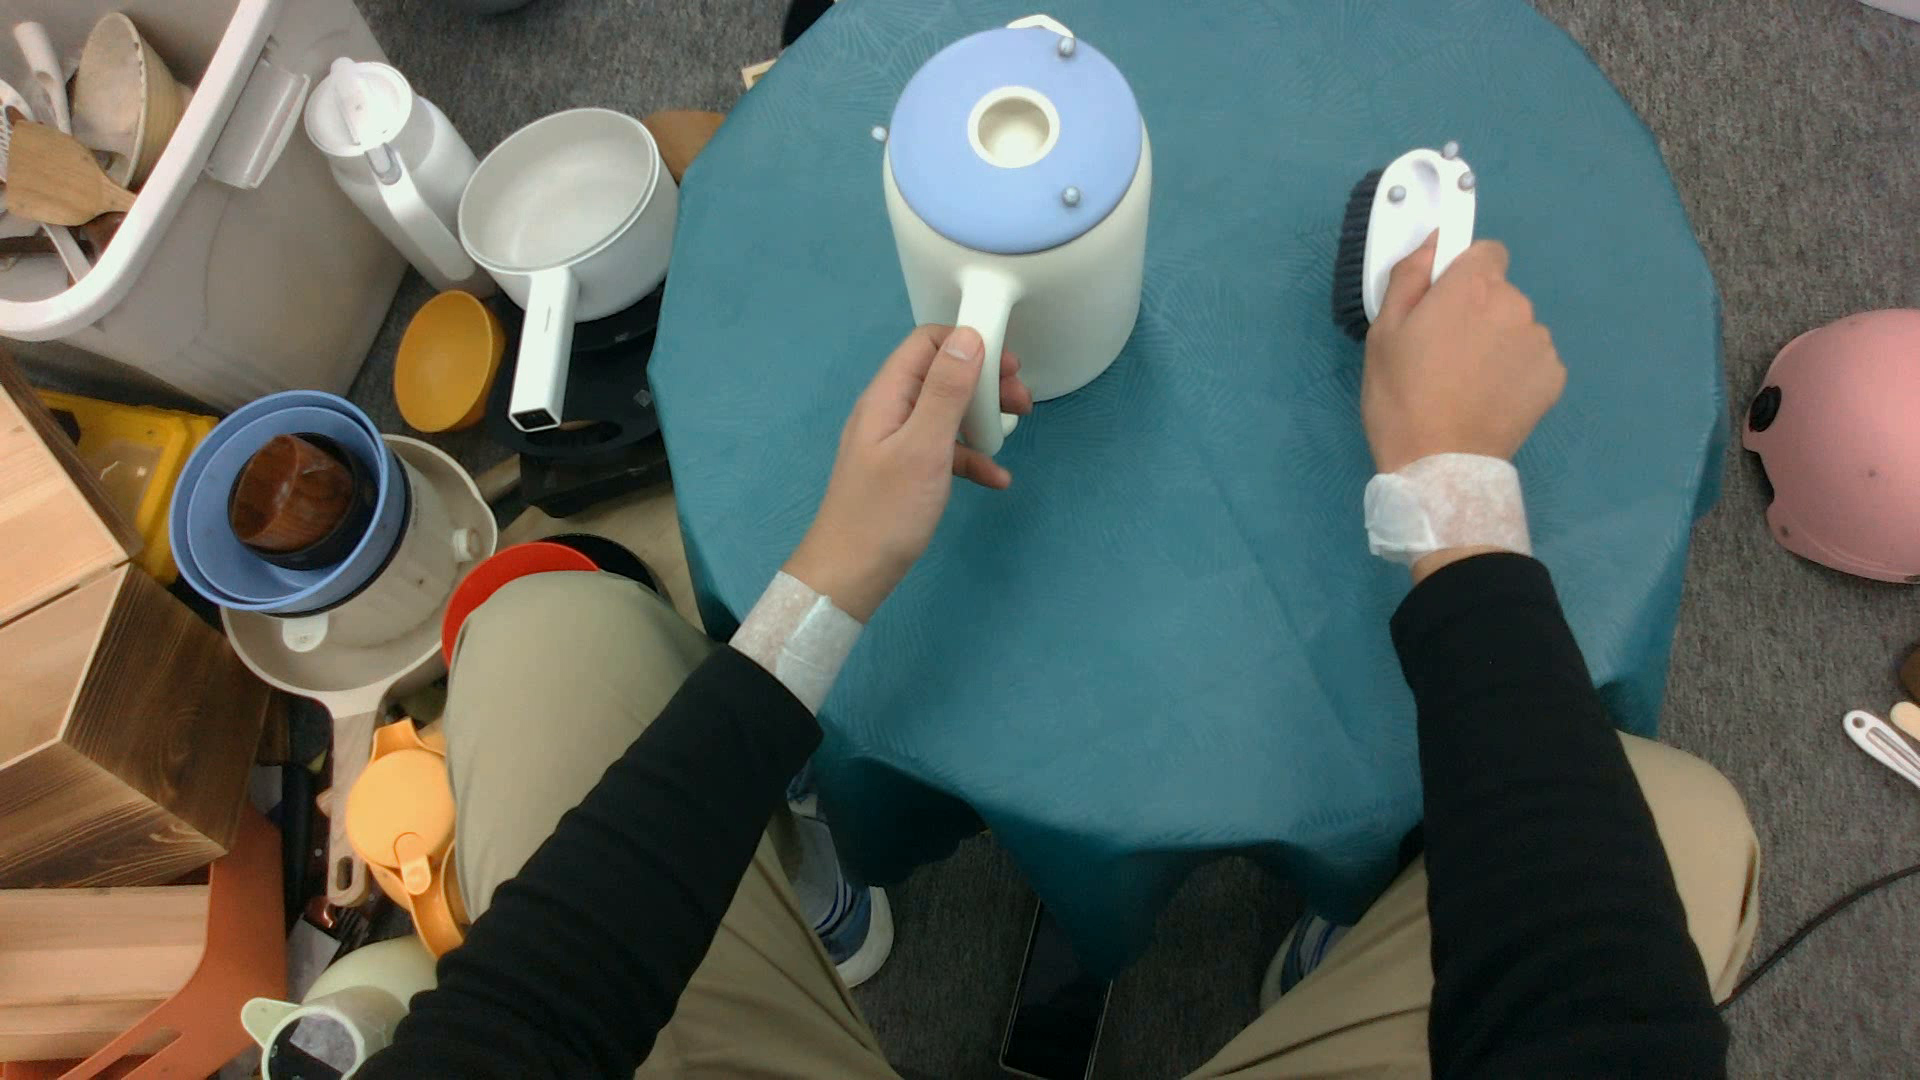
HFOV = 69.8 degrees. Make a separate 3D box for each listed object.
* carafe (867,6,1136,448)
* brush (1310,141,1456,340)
[{"bbox_3d":[0.019,-0.146,0.712,0.132,0.182,0.191,8,75,7],"label":"carafe"},{"bbox_3d":[0.225,-0.157,0.713,0.050,0.072,0.099,13,86,-19],"label":"brush"}]
